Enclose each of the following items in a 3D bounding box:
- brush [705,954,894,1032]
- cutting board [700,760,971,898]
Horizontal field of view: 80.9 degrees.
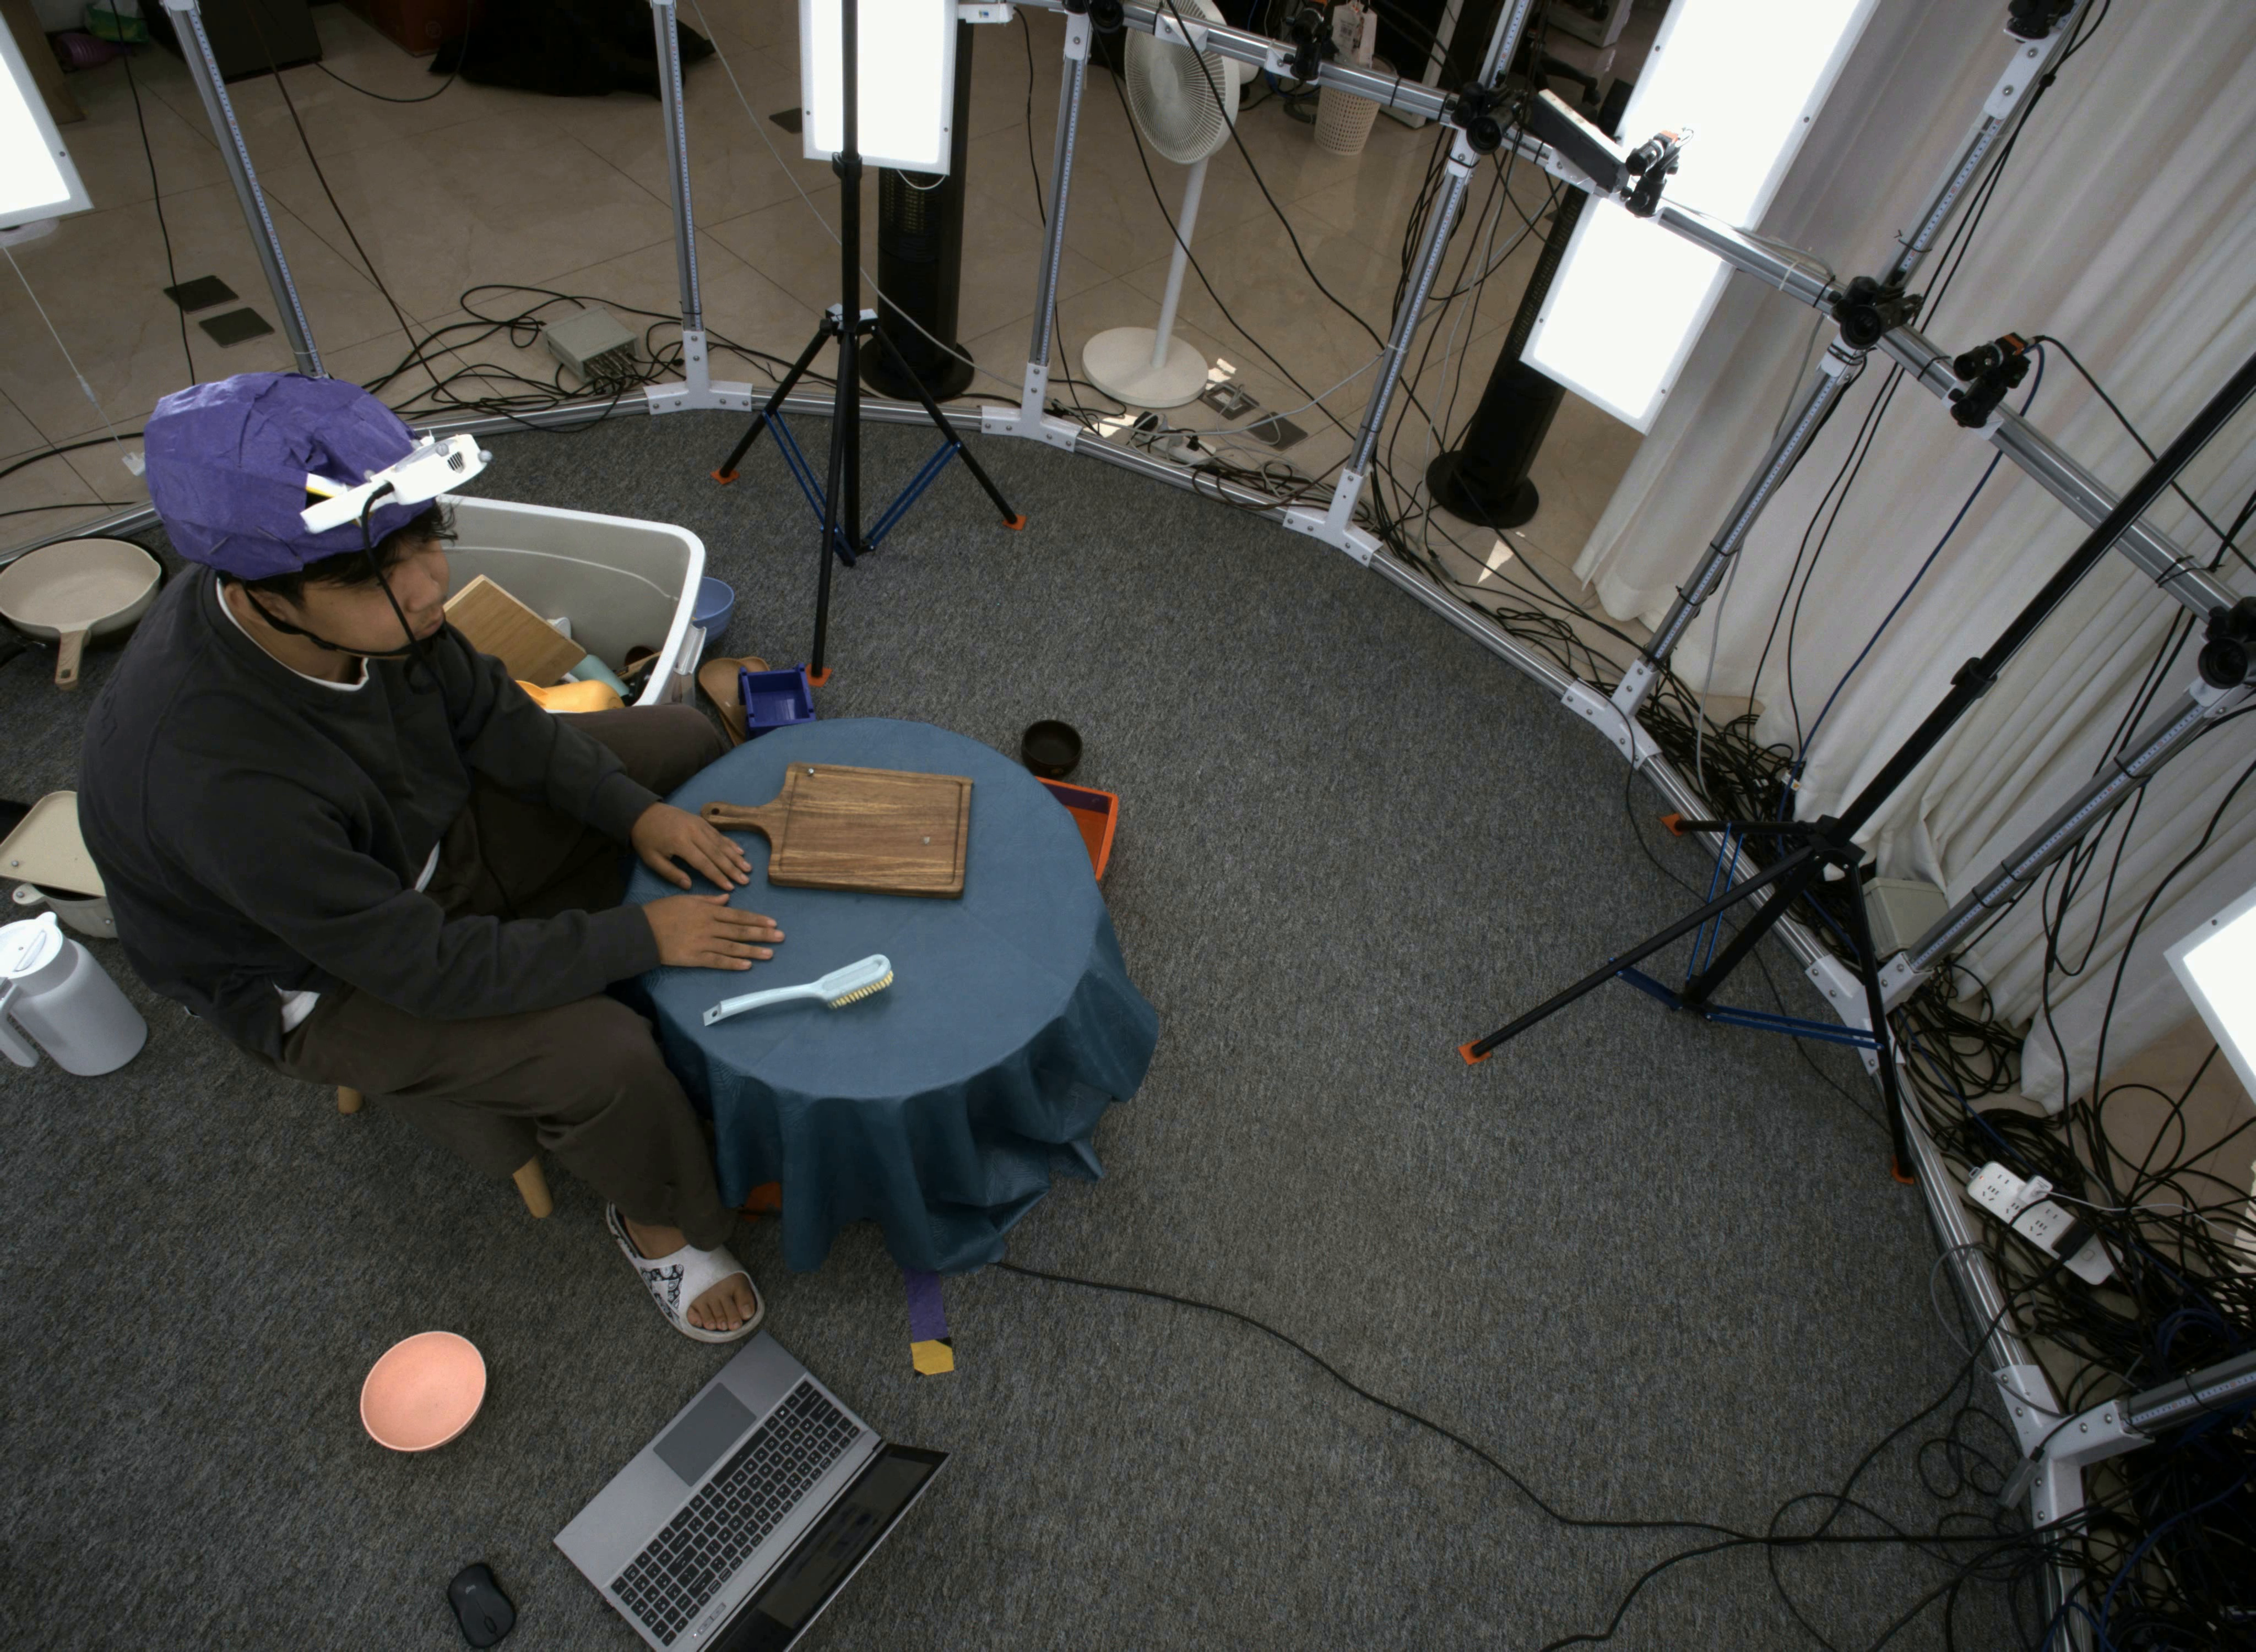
[{"bbox_3d":[-0.392,0.205,1.554,0.228,0.051,0.036,-16,51,-14],"label":"brush"},{"bbox_3d":[-0.387,-0.003,1.719,0.351,0.023,0.197,5,52,-10],"label":"cutting board"}]
